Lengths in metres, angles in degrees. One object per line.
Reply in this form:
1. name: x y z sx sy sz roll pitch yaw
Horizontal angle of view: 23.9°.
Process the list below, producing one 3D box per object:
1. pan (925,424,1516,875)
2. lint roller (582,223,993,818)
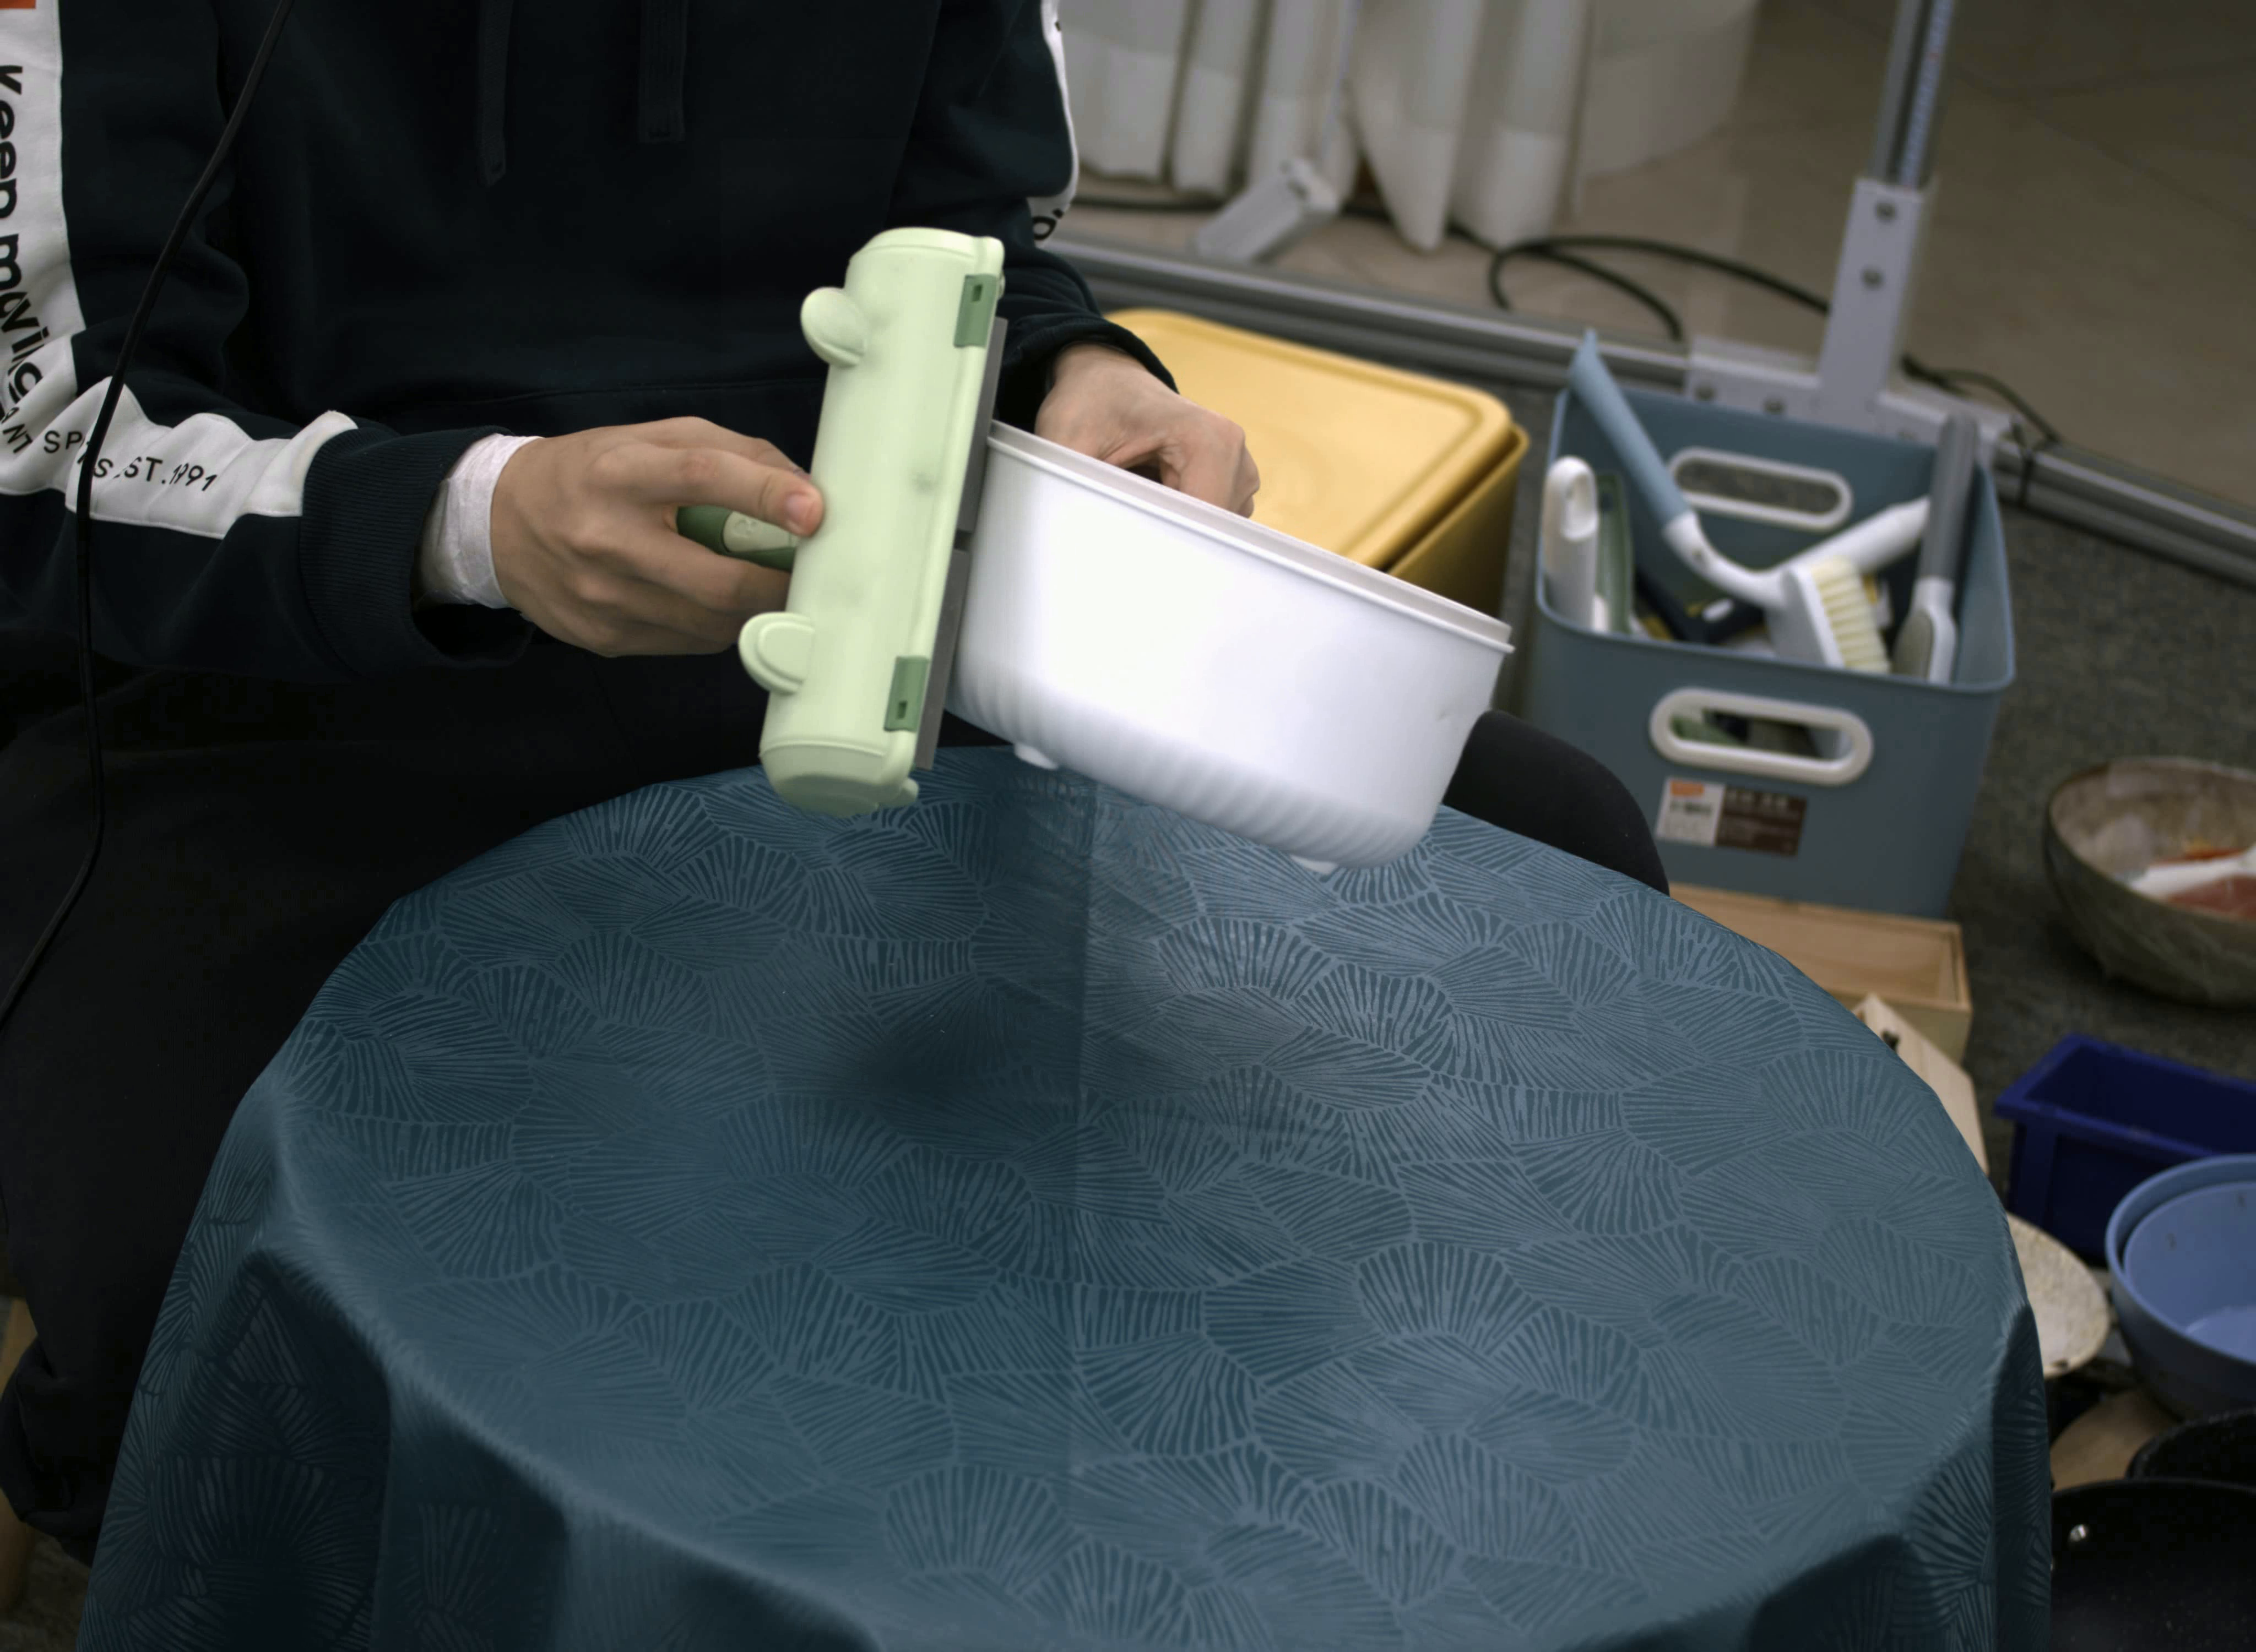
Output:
1. pan: 0.008 -0.066 1.900 0.200 0.102 0.356 20 3 -14
2. lint roller: -0.131 -0.102 1.793 0.184 0.199 0.081 -3 -20 35
